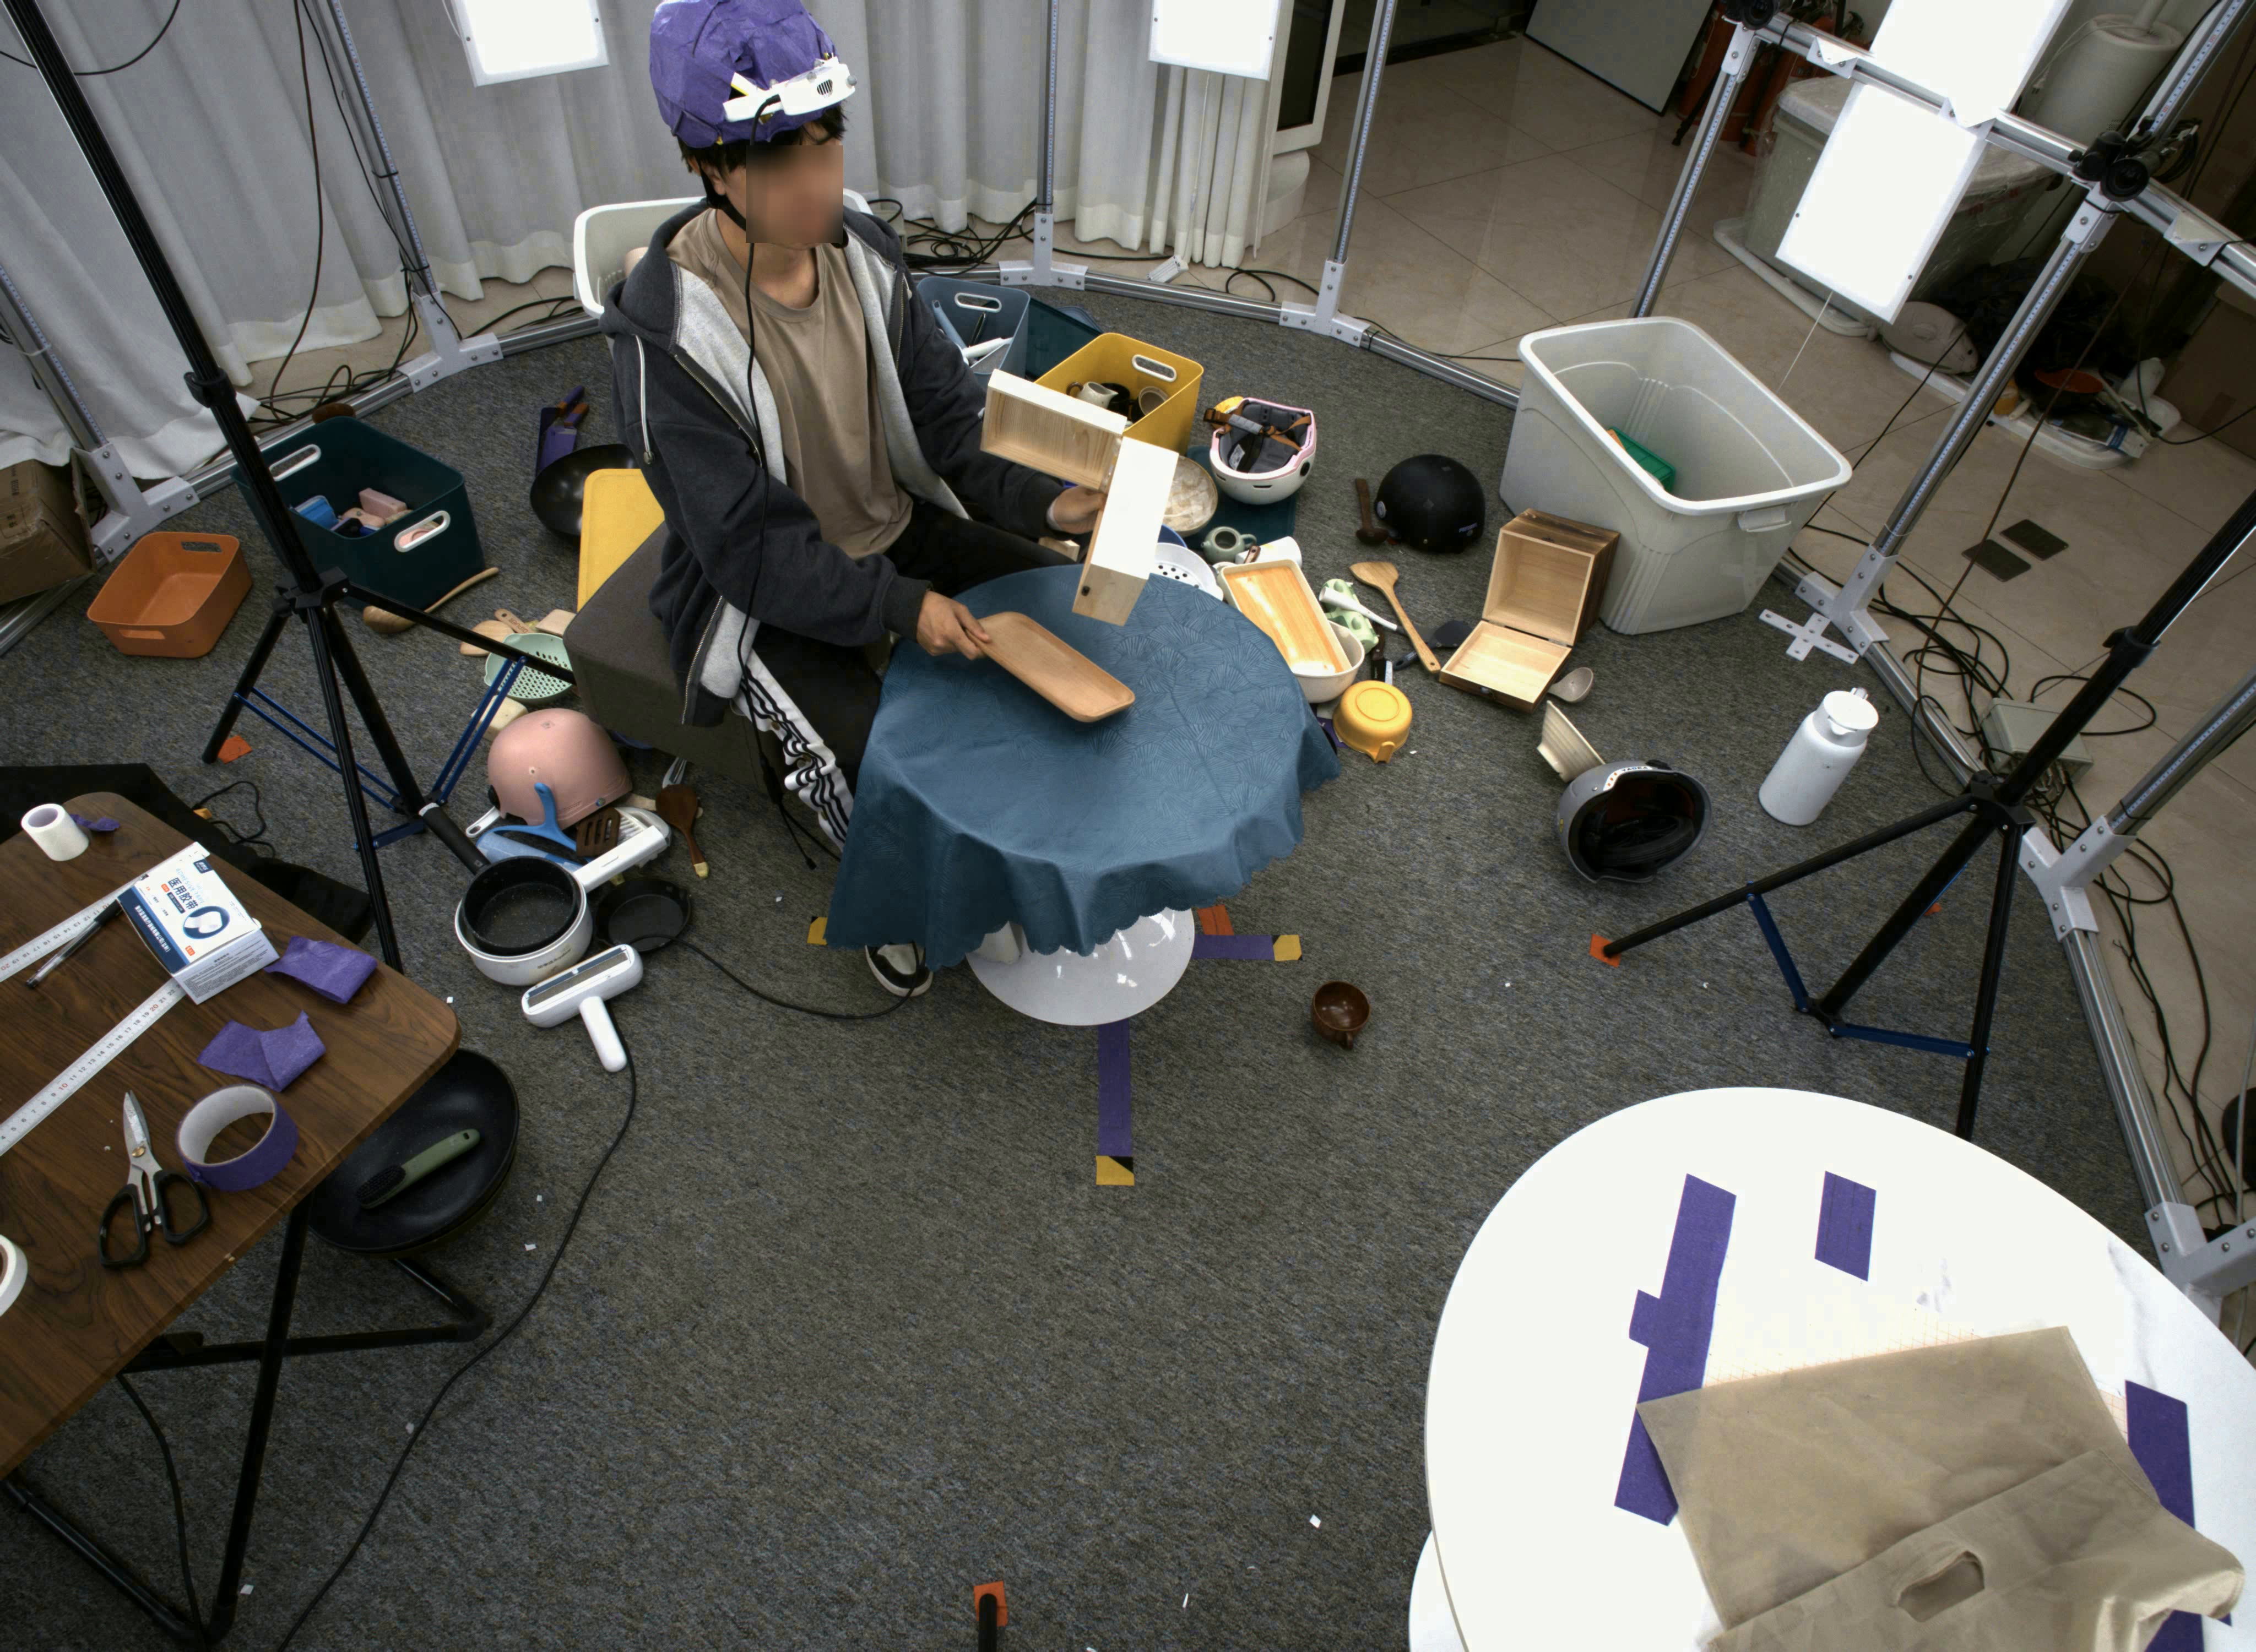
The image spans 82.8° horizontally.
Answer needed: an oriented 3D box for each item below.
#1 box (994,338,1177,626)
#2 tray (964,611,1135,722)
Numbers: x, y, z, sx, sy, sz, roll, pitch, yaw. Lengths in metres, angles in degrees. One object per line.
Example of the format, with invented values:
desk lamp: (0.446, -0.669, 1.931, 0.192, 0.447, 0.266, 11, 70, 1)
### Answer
box: (-0.079, -0.441, 1.702, 0.253, 0.180, 0.268, 15, 75, -3)
tray: (-0.112, -0.226, 1.804, 0.254, 0.022, 0.131, 37, 35, 24)
